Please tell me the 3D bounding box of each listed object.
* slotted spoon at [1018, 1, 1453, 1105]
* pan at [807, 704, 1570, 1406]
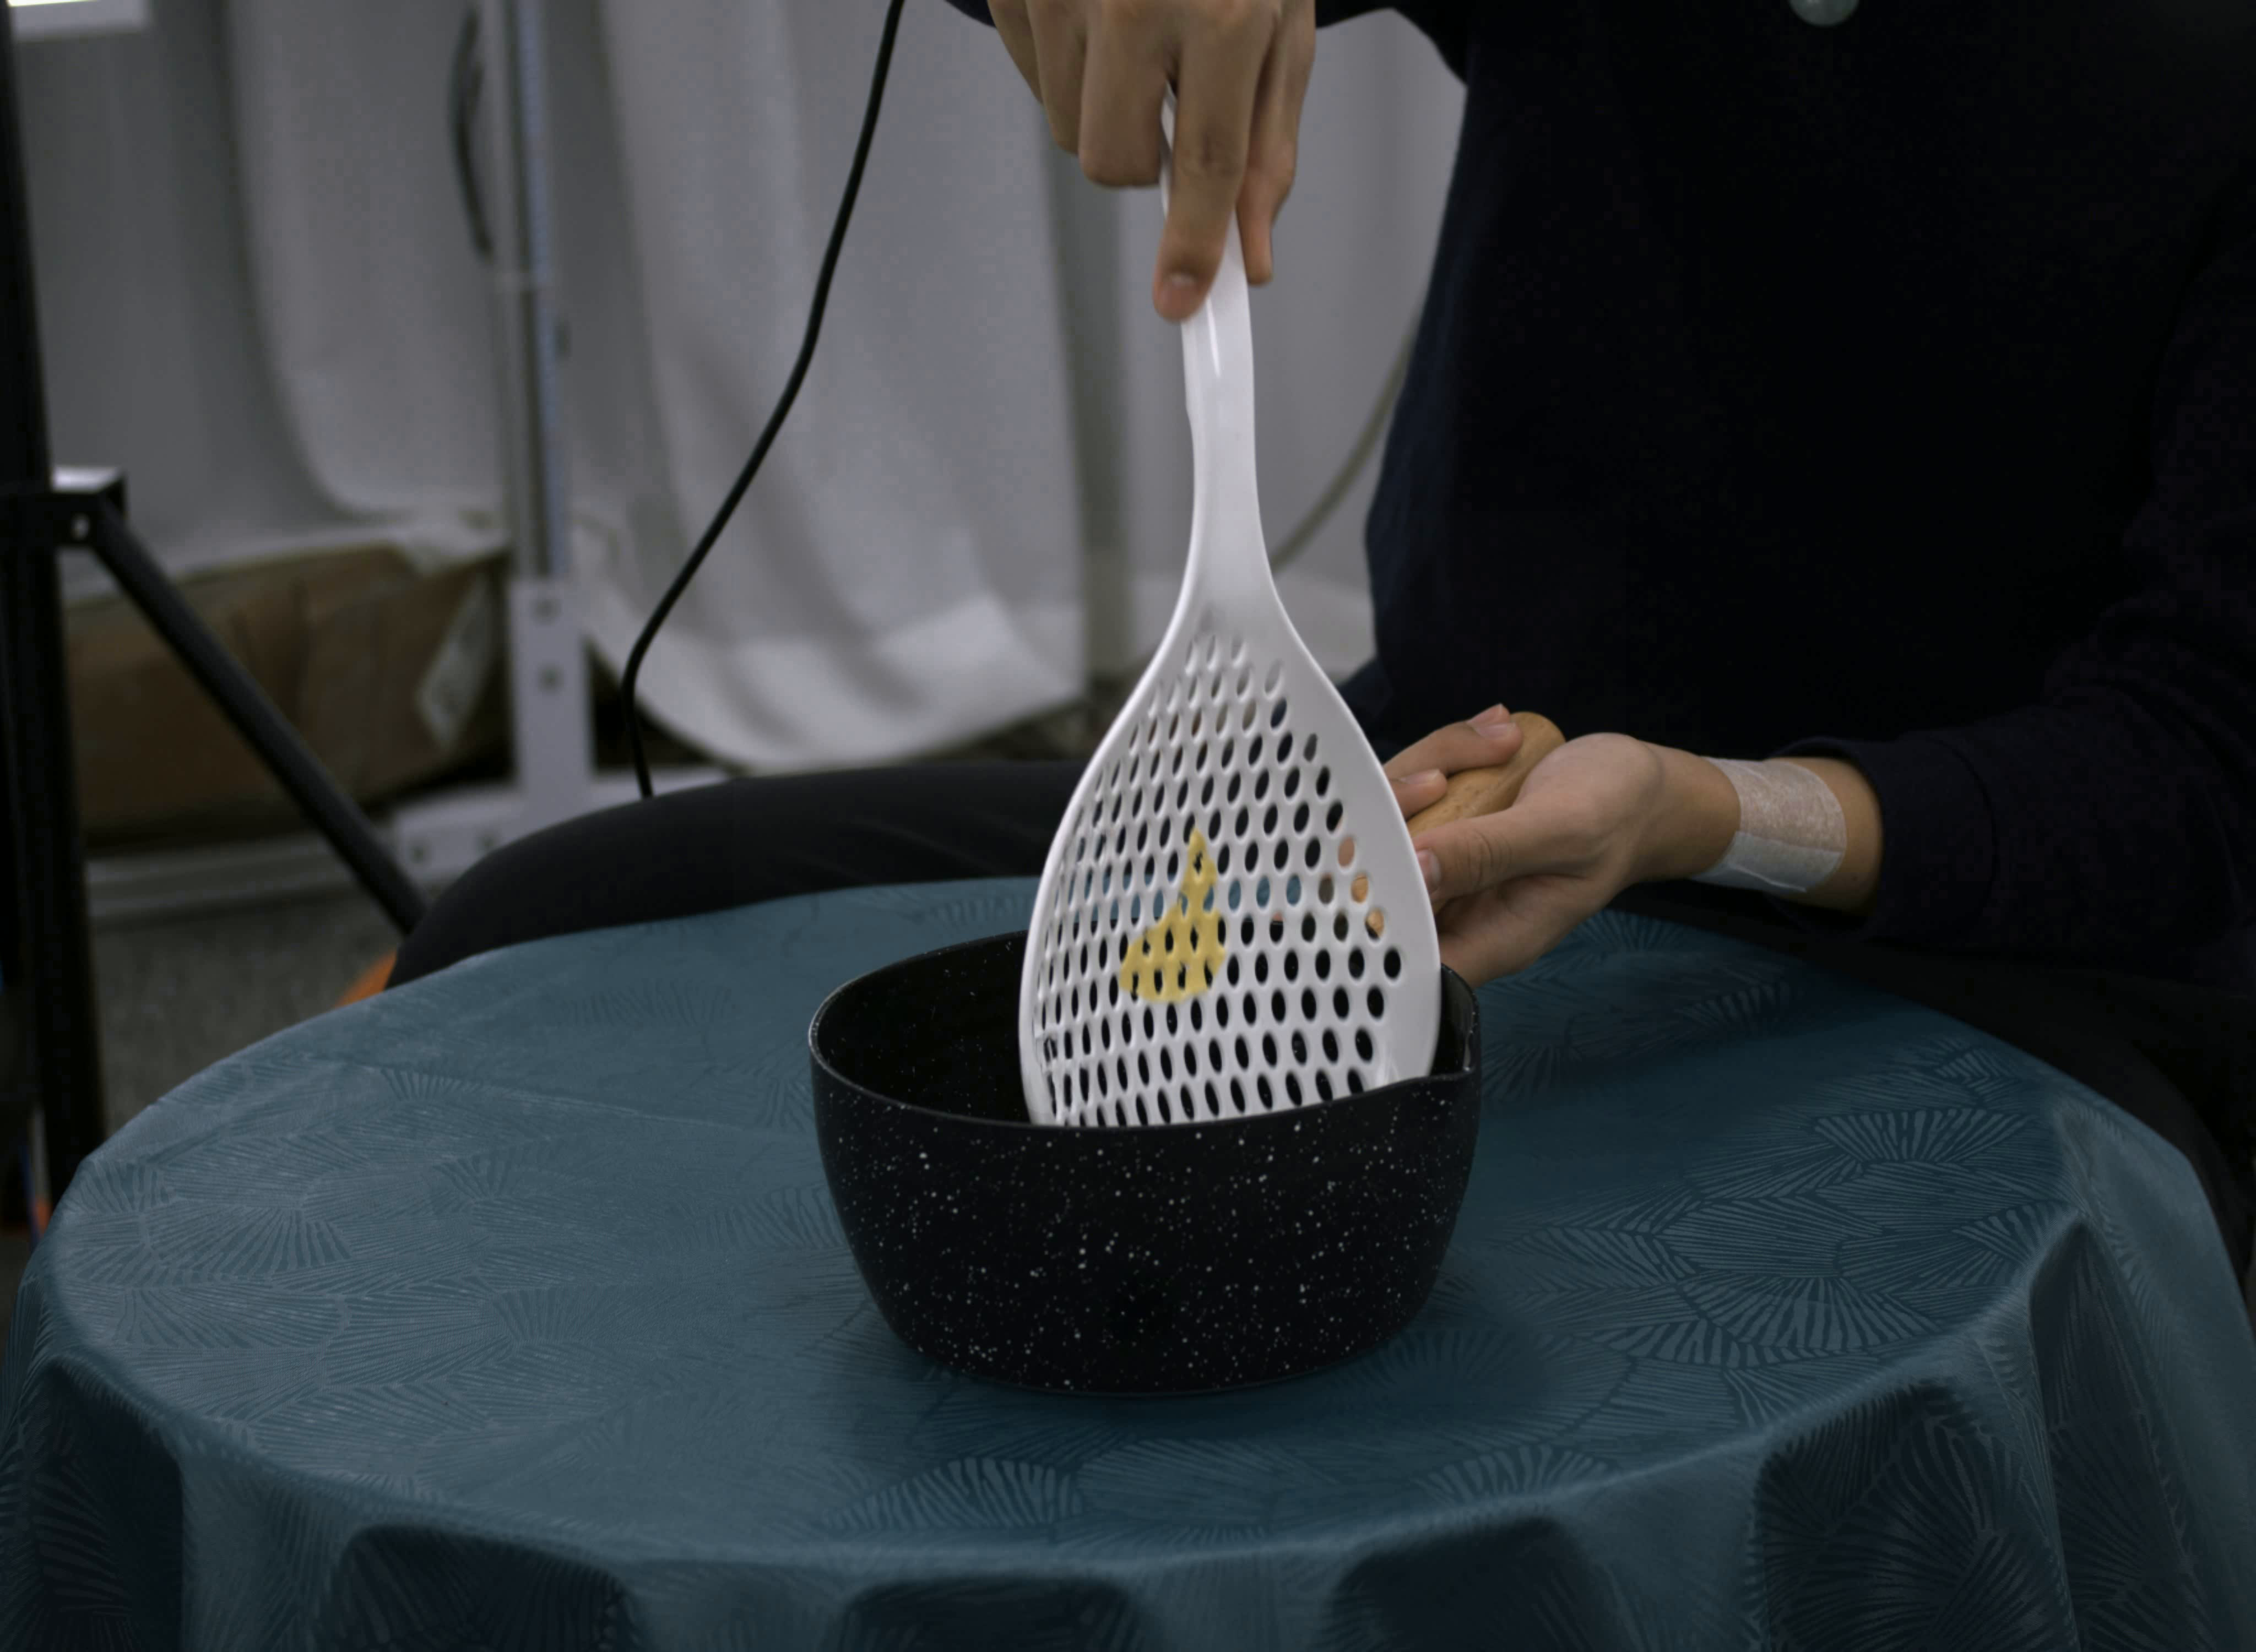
[{"bbox_3d":[0.019,-0.064,1.432,0.134,0.348,0.051,-9,18,-26],"label":"slotted spoon"},{"bbox_3d":[0.044,0.060,1.520,0.211,0.108,0.337,5,19,29],"label":"pan"}]
